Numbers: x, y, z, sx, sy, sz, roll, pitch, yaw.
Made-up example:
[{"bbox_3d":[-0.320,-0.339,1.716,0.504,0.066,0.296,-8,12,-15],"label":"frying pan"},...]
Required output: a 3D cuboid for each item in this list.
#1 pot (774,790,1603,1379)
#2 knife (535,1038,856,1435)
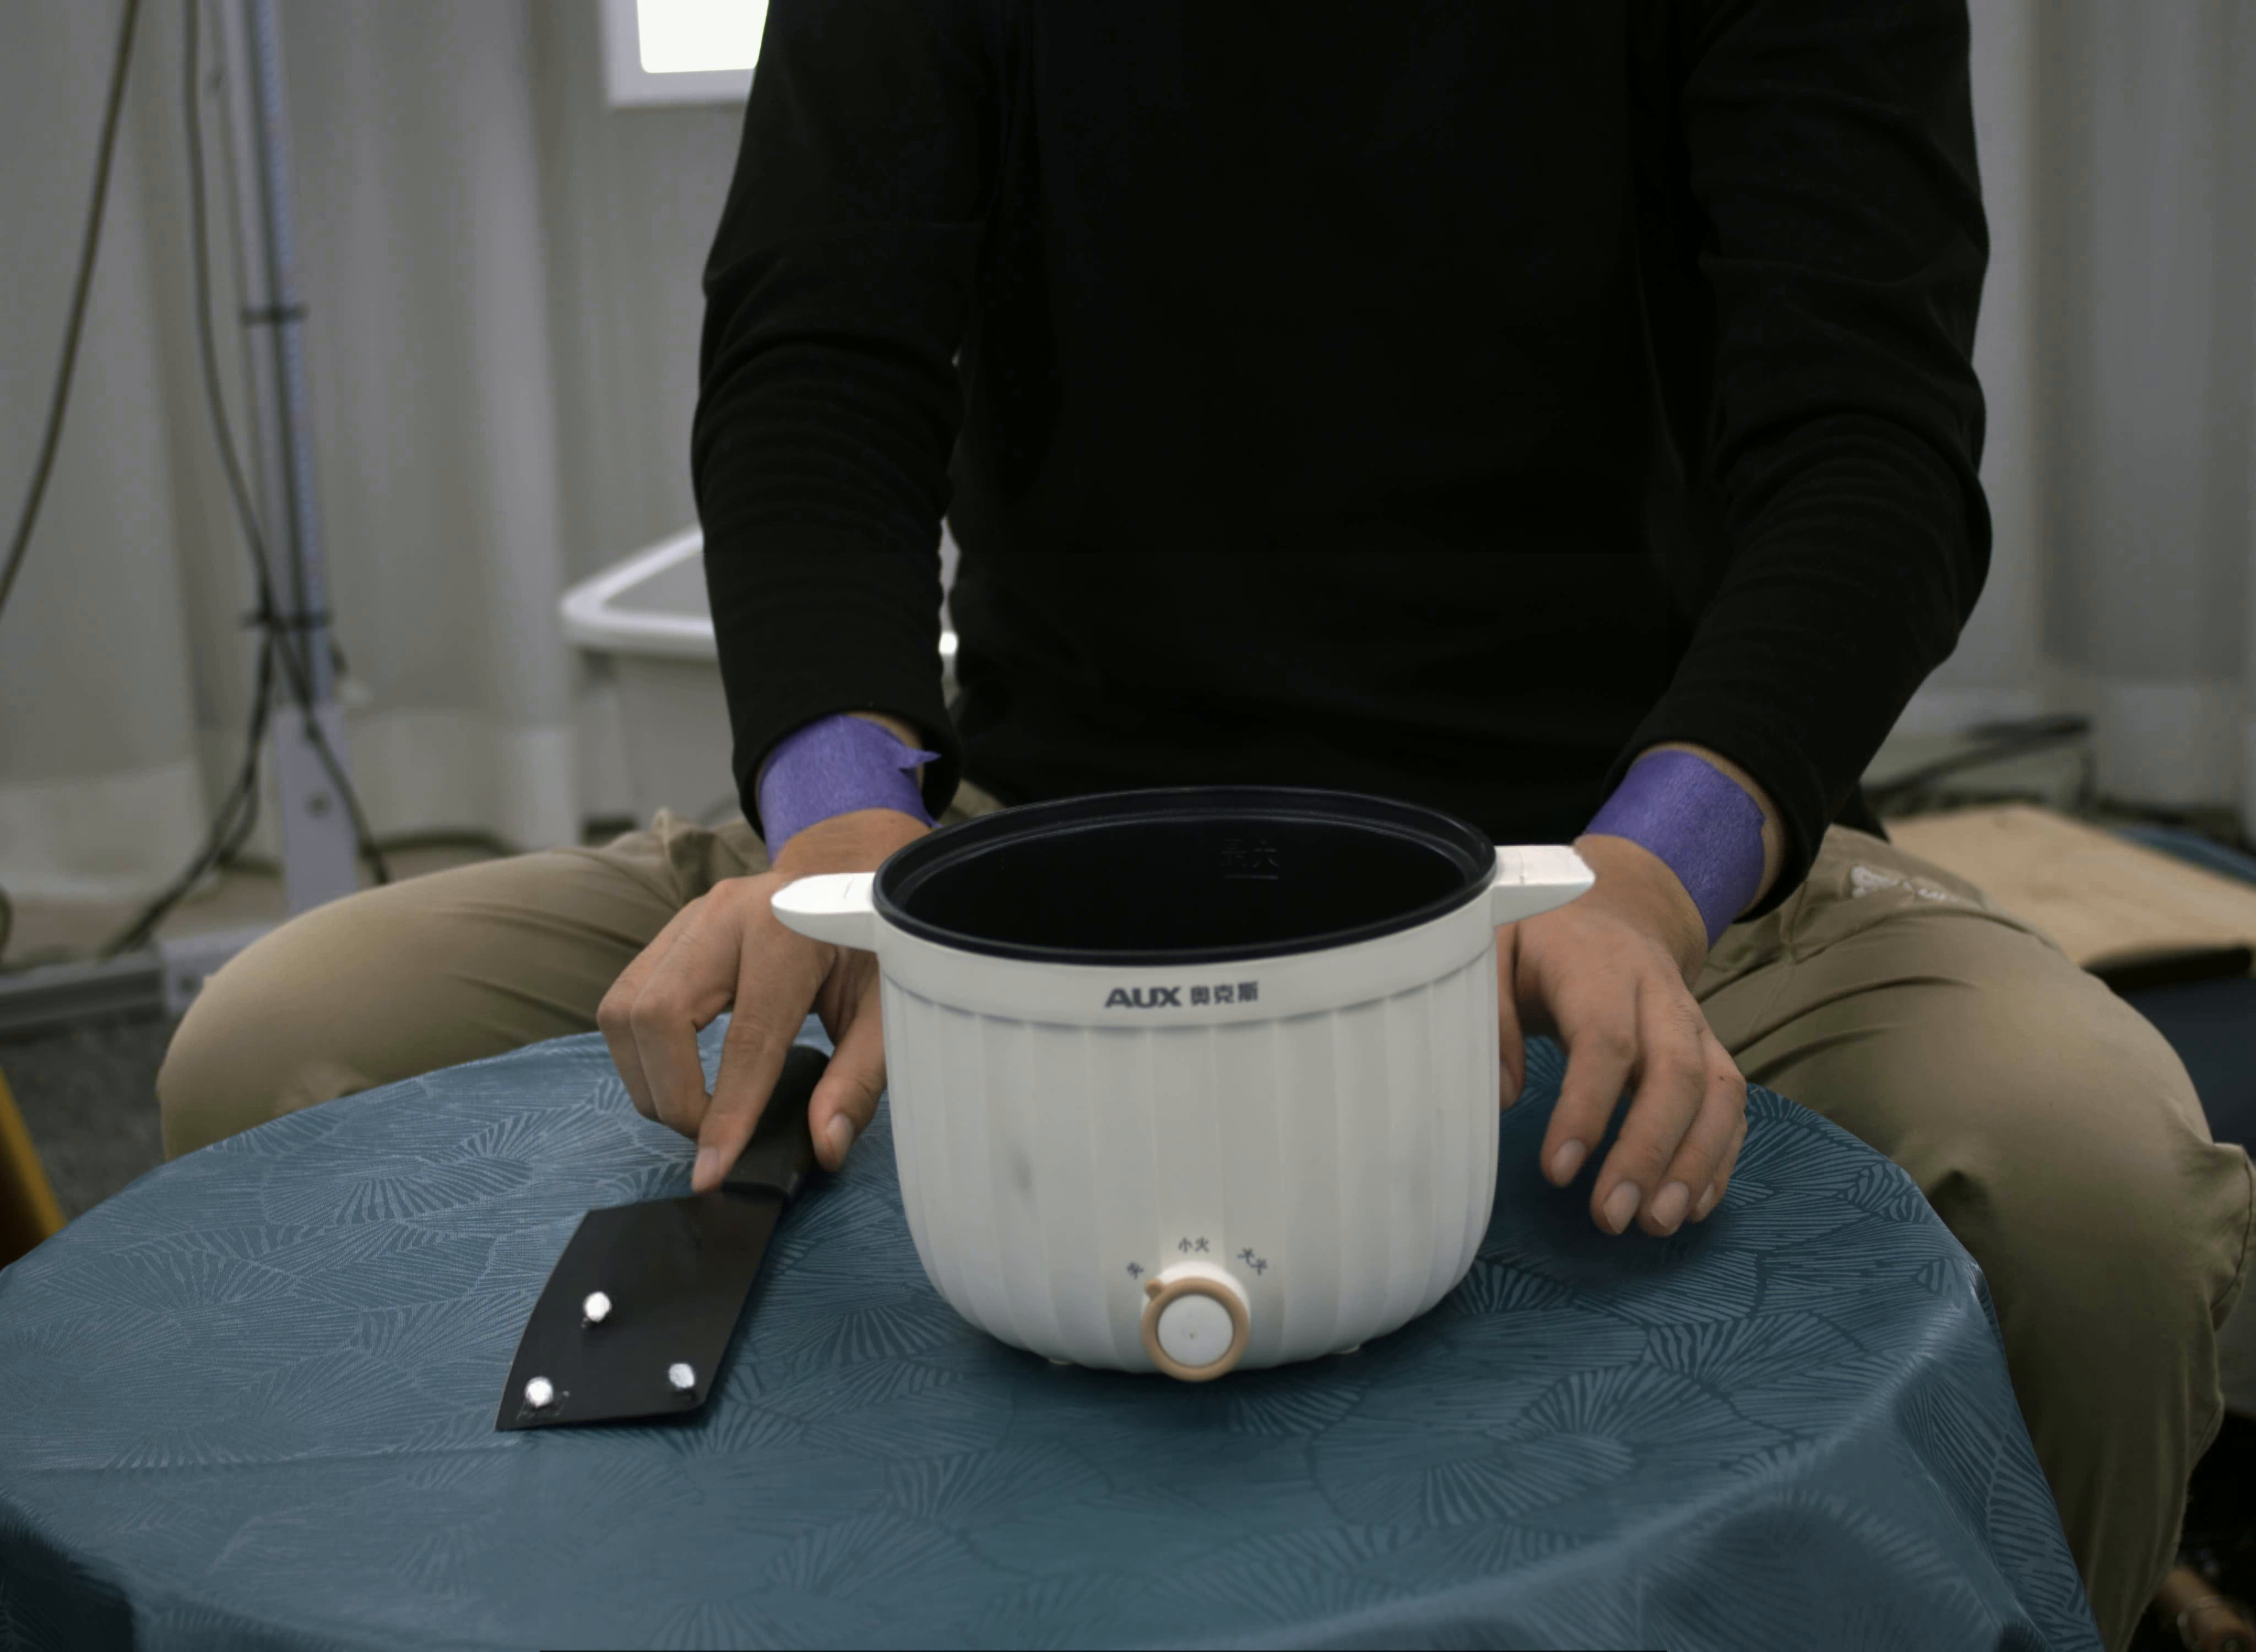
[{"bbox_3d":[0.021,0.077,1.586,0.239,0.142,0.191,-3,11,2],"label":"pot"},{"bbox_3d":[-0.127,0.124,1.675,0.081,0.021,0.304,-6,17,10],"label":"knife"}]
